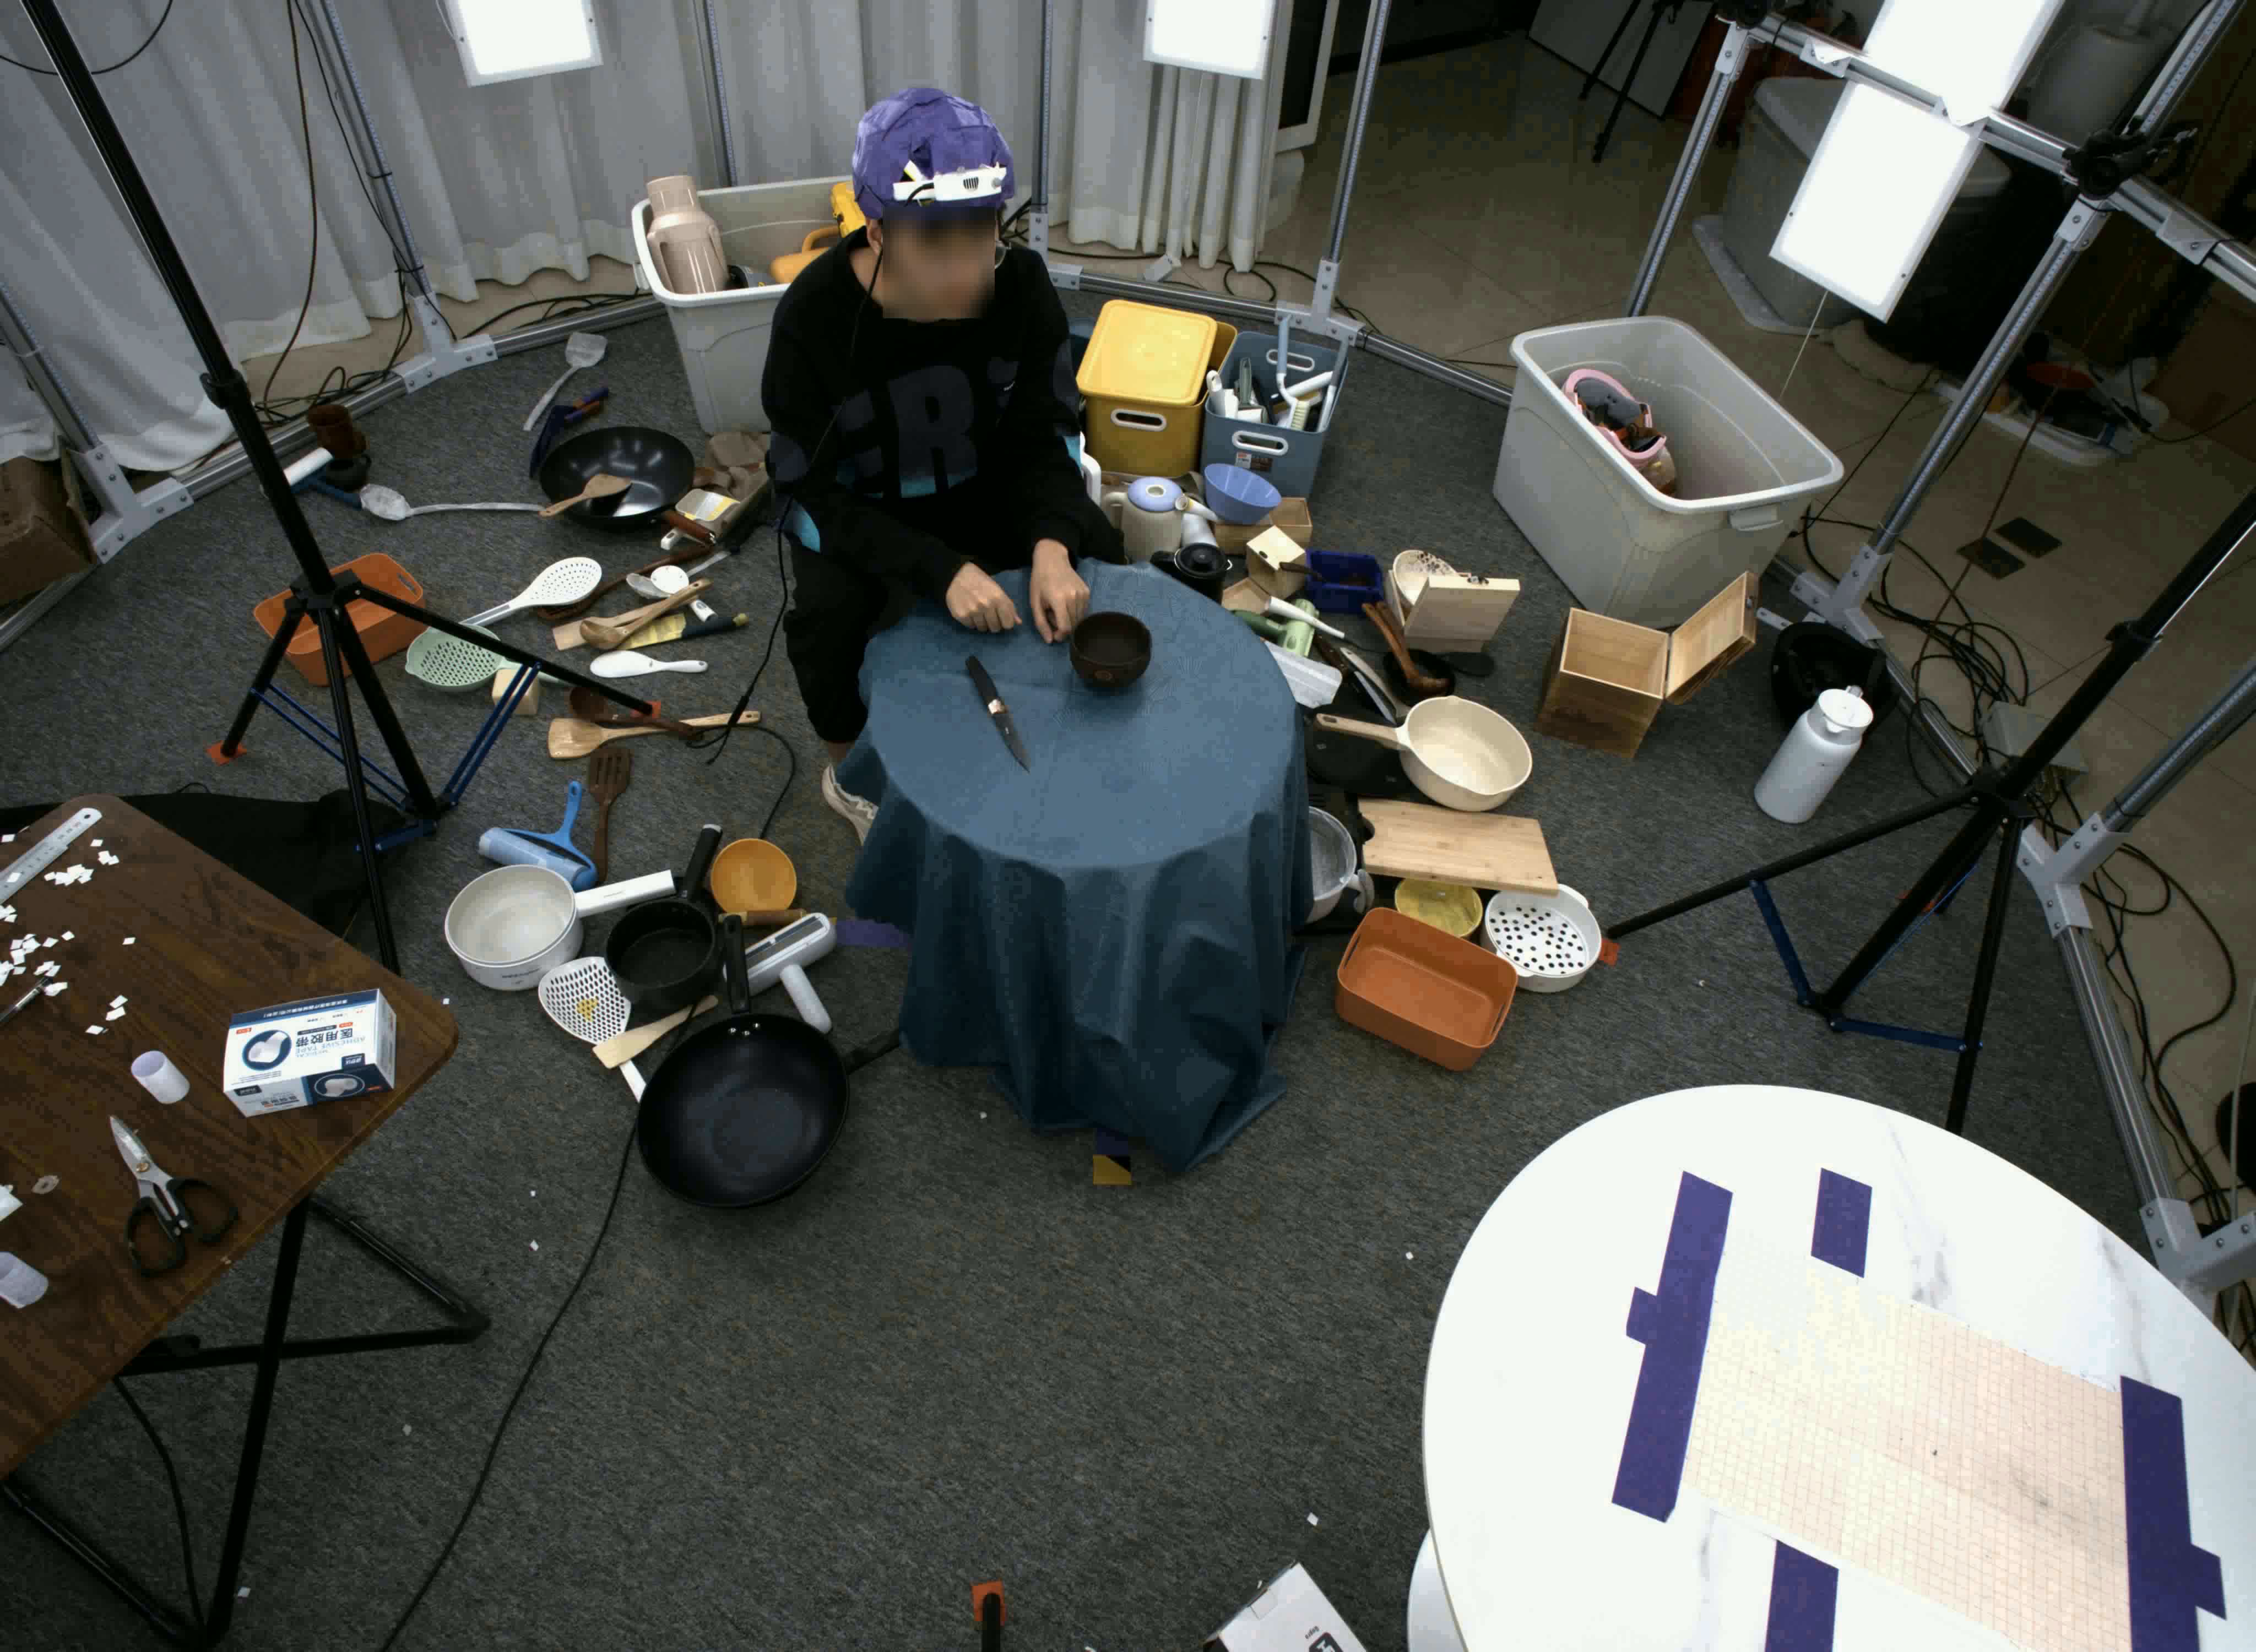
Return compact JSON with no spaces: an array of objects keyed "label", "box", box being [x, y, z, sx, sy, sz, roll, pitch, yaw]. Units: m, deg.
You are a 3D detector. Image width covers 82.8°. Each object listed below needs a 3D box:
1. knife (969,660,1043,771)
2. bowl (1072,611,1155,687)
[{"label":"knife","box":[-0.171,-0.155,1.785,0.026,0.017,0.230,-13,52,-25]},{"label":"bowl","box":[-0.022,-0.244,1.830,0.118,0.068,0.121,3,47,-3]}]
